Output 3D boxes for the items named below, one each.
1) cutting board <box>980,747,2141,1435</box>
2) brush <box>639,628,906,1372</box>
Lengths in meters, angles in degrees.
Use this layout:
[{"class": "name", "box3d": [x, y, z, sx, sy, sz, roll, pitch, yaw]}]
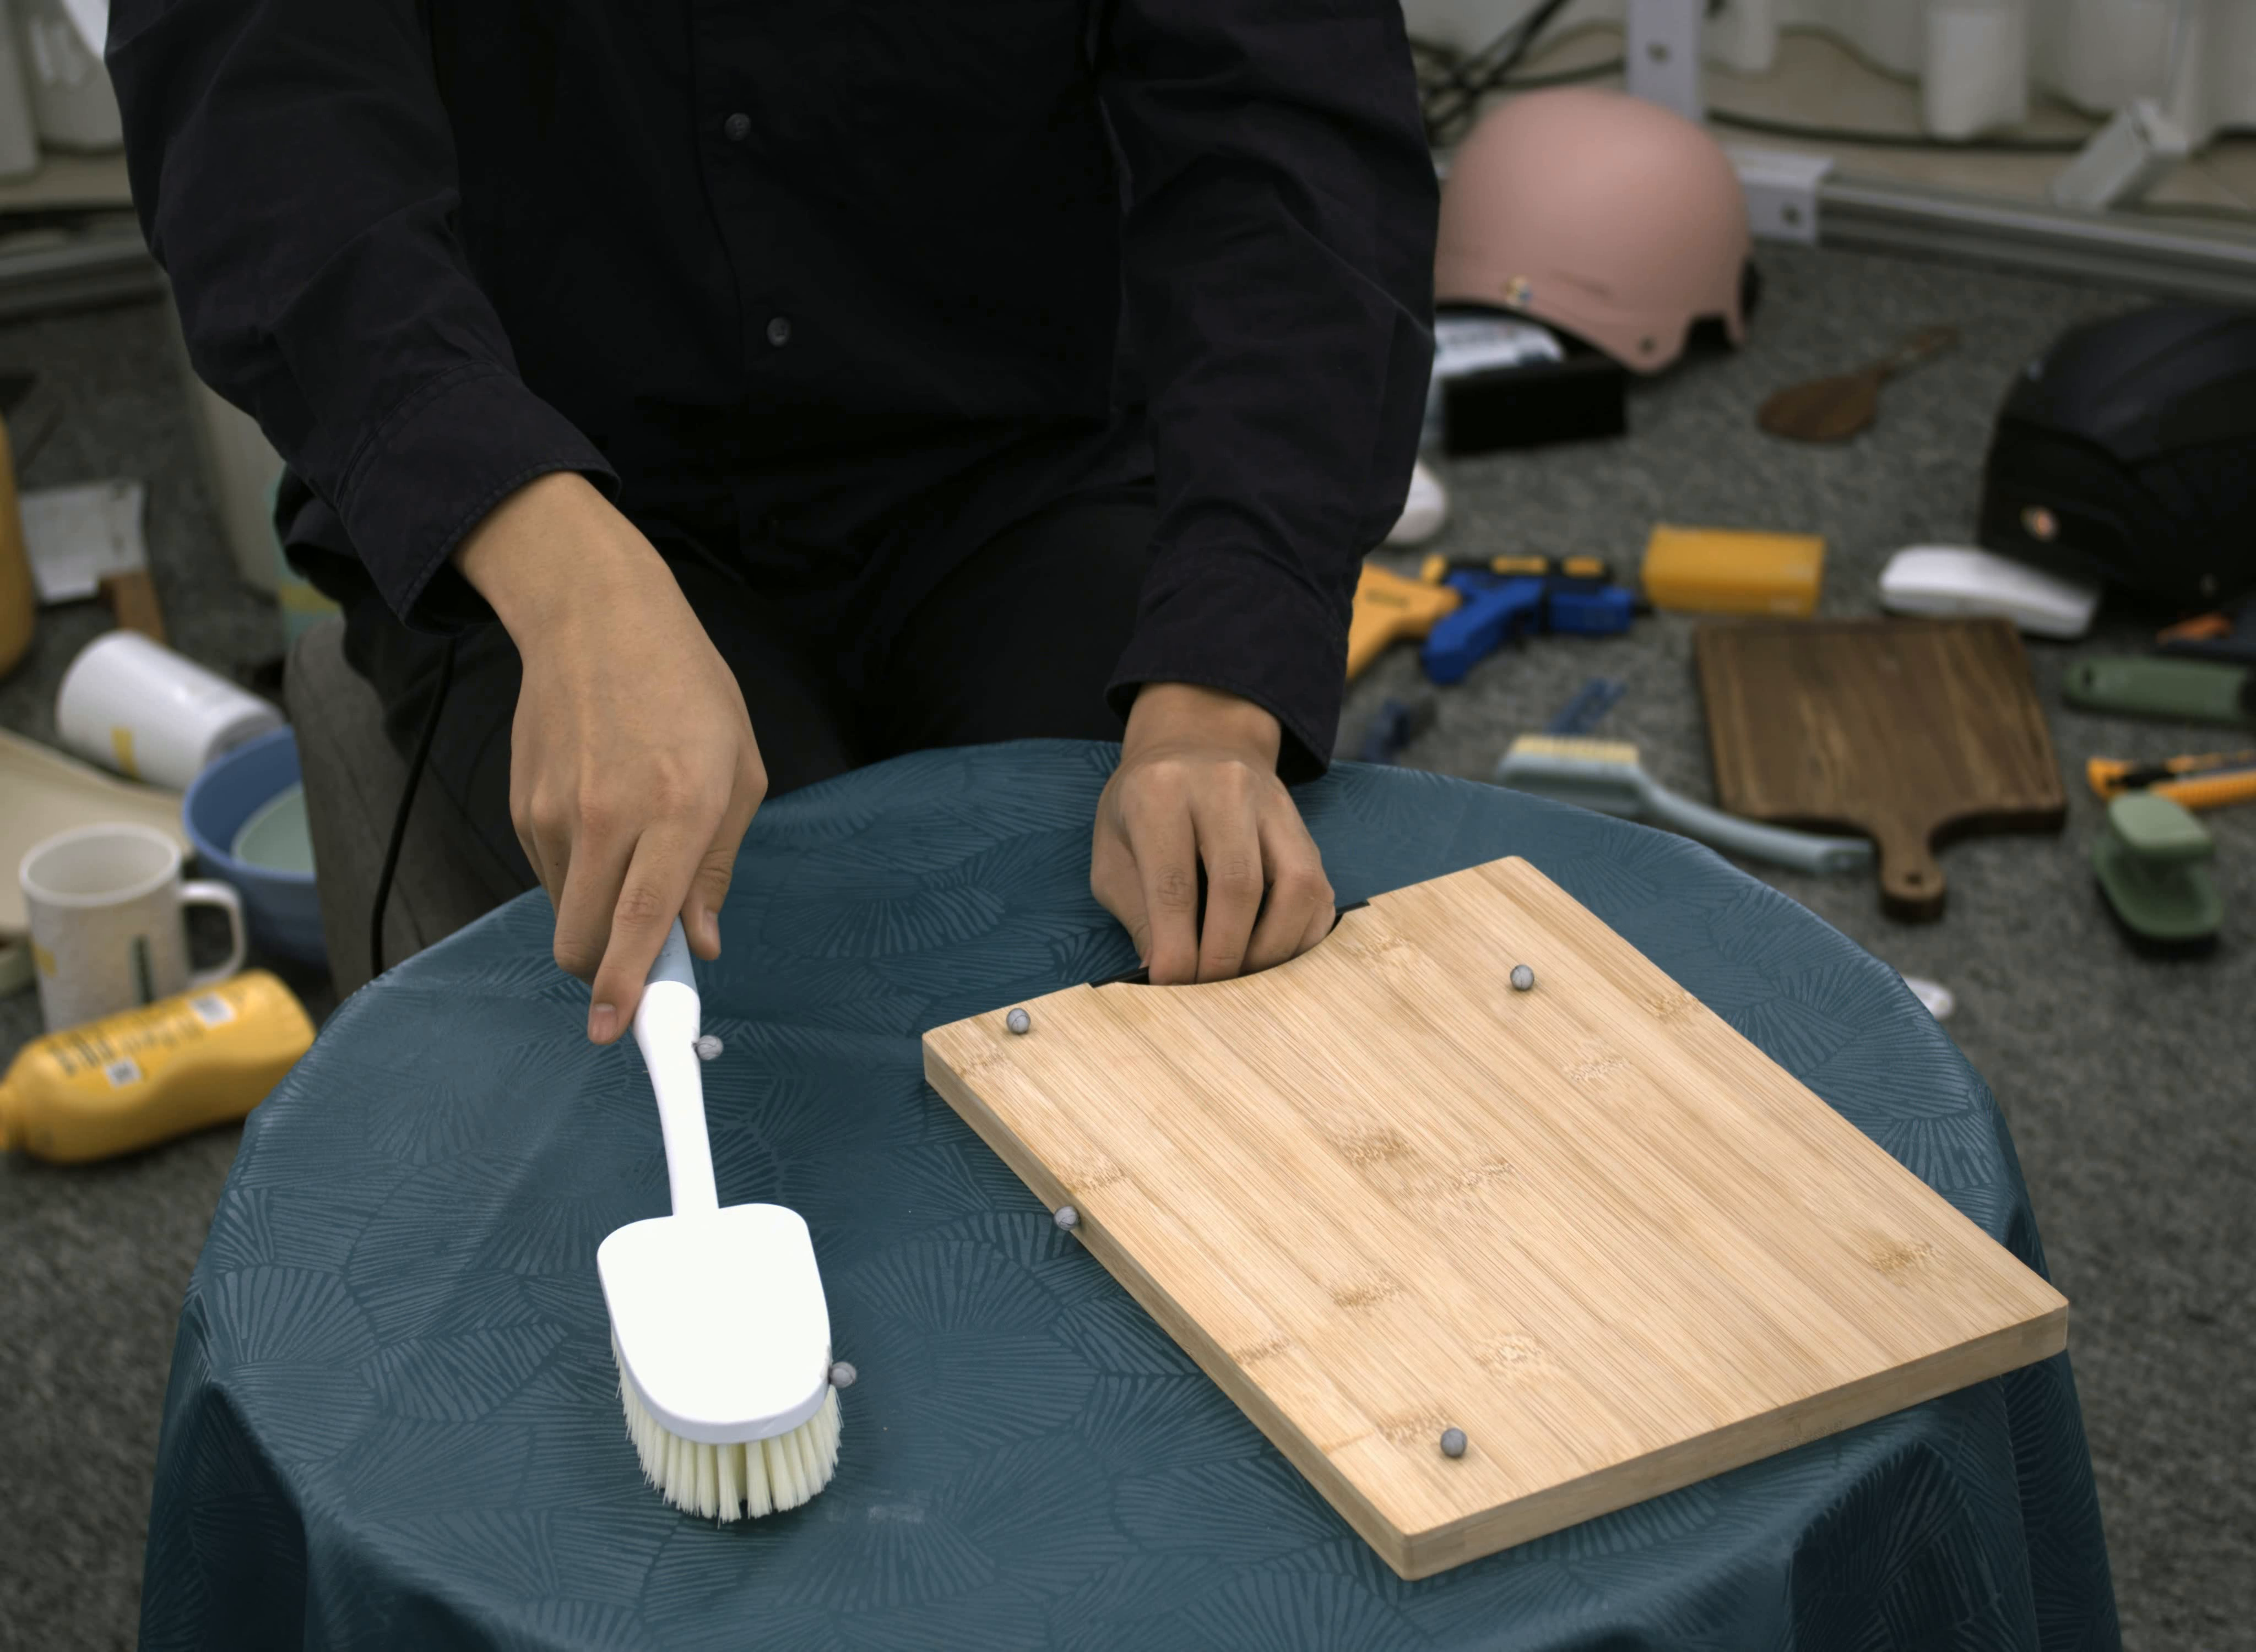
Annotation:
[{"class": "cutting board", "box3d": [0.133, 0.079, 1.856, 0.252, 0.023, 0.350, -16, 31, -24]}, {"class": "brush", "box3d": [-0.121, 0.063, 1.837, 0.083, 0.083, 0.331, 24, 30, -30]}]
